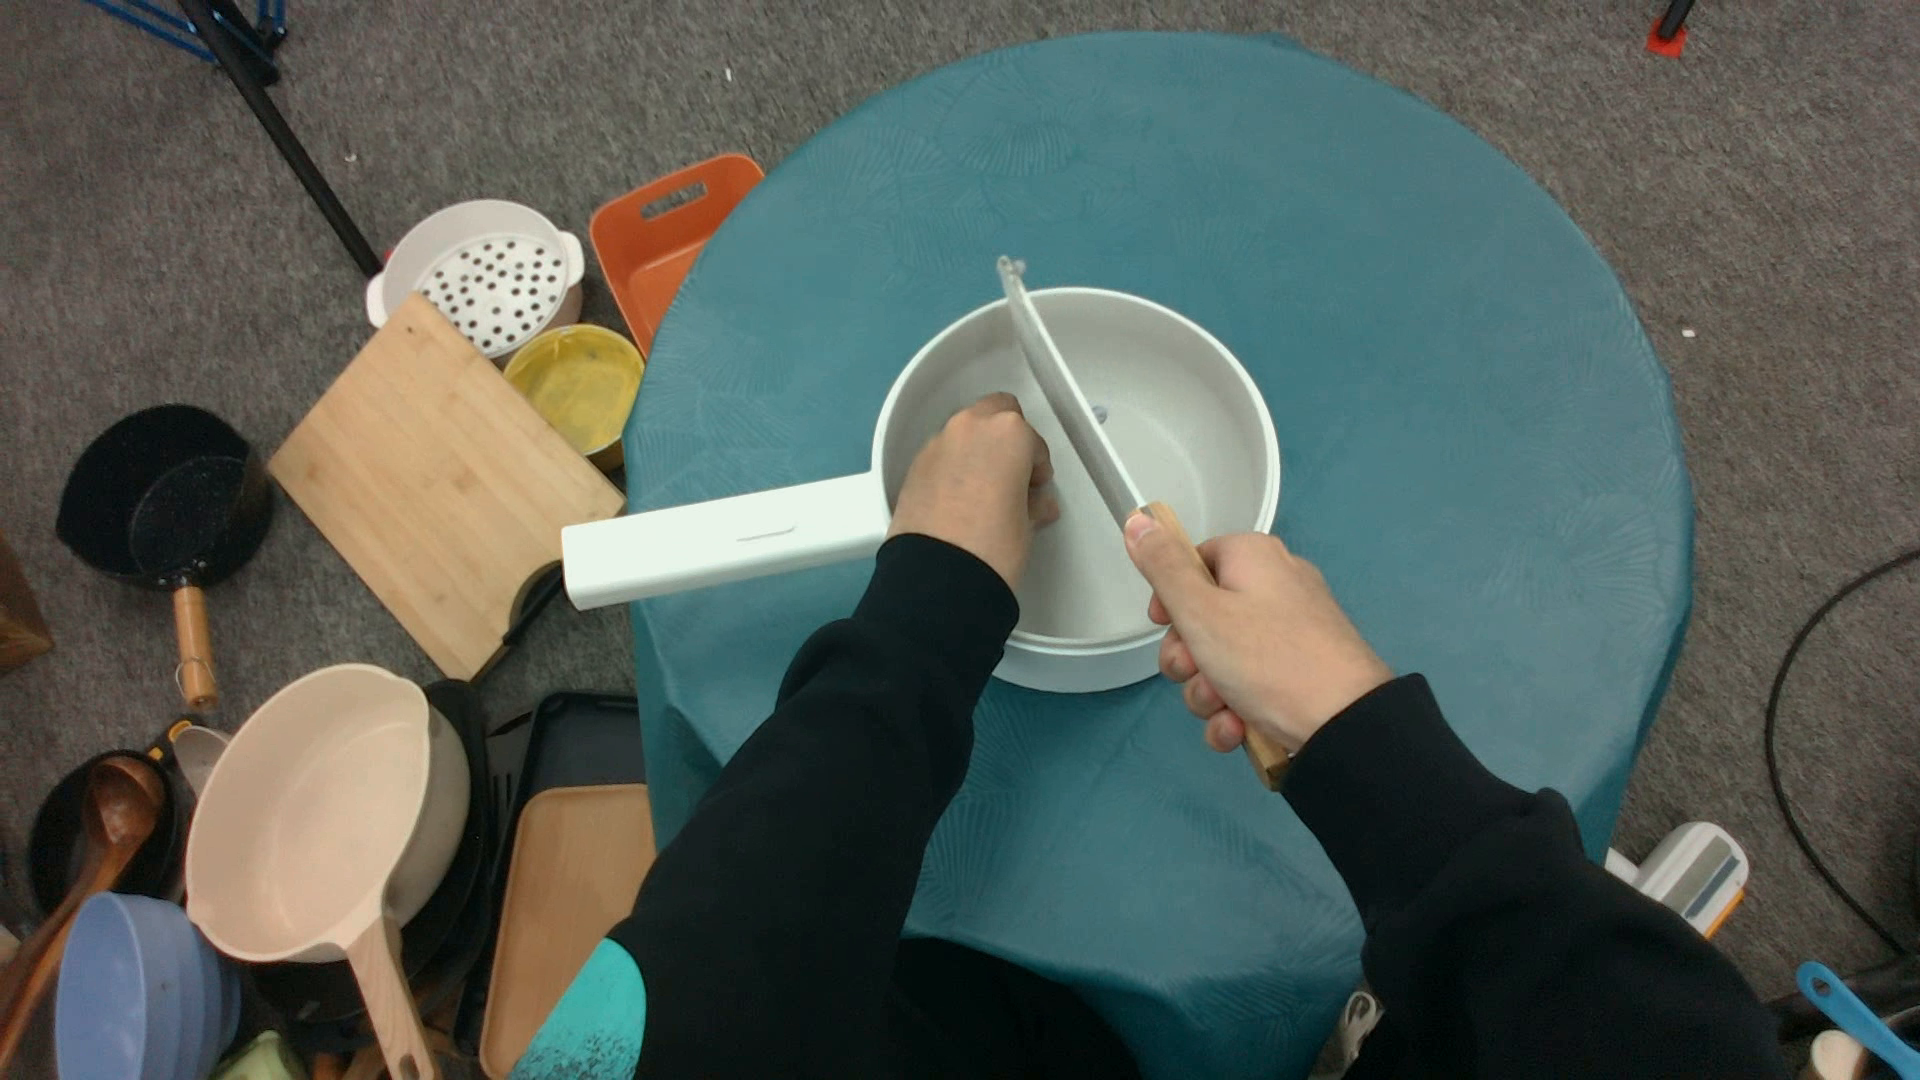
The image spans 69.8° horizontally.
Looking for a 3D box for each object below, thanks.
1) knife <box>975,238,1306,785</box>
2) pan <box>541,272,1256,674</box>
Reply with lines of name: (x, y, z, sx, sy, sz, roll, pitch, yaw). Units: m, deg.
knife: (0.067, -0.022, 0.613, 0.022, 0.113, 0.316, -26, 50, -1)
pan: (-0.028, -0.015, 0.718, 0.355, 0.102, 0.202, -11, 68, -2)
